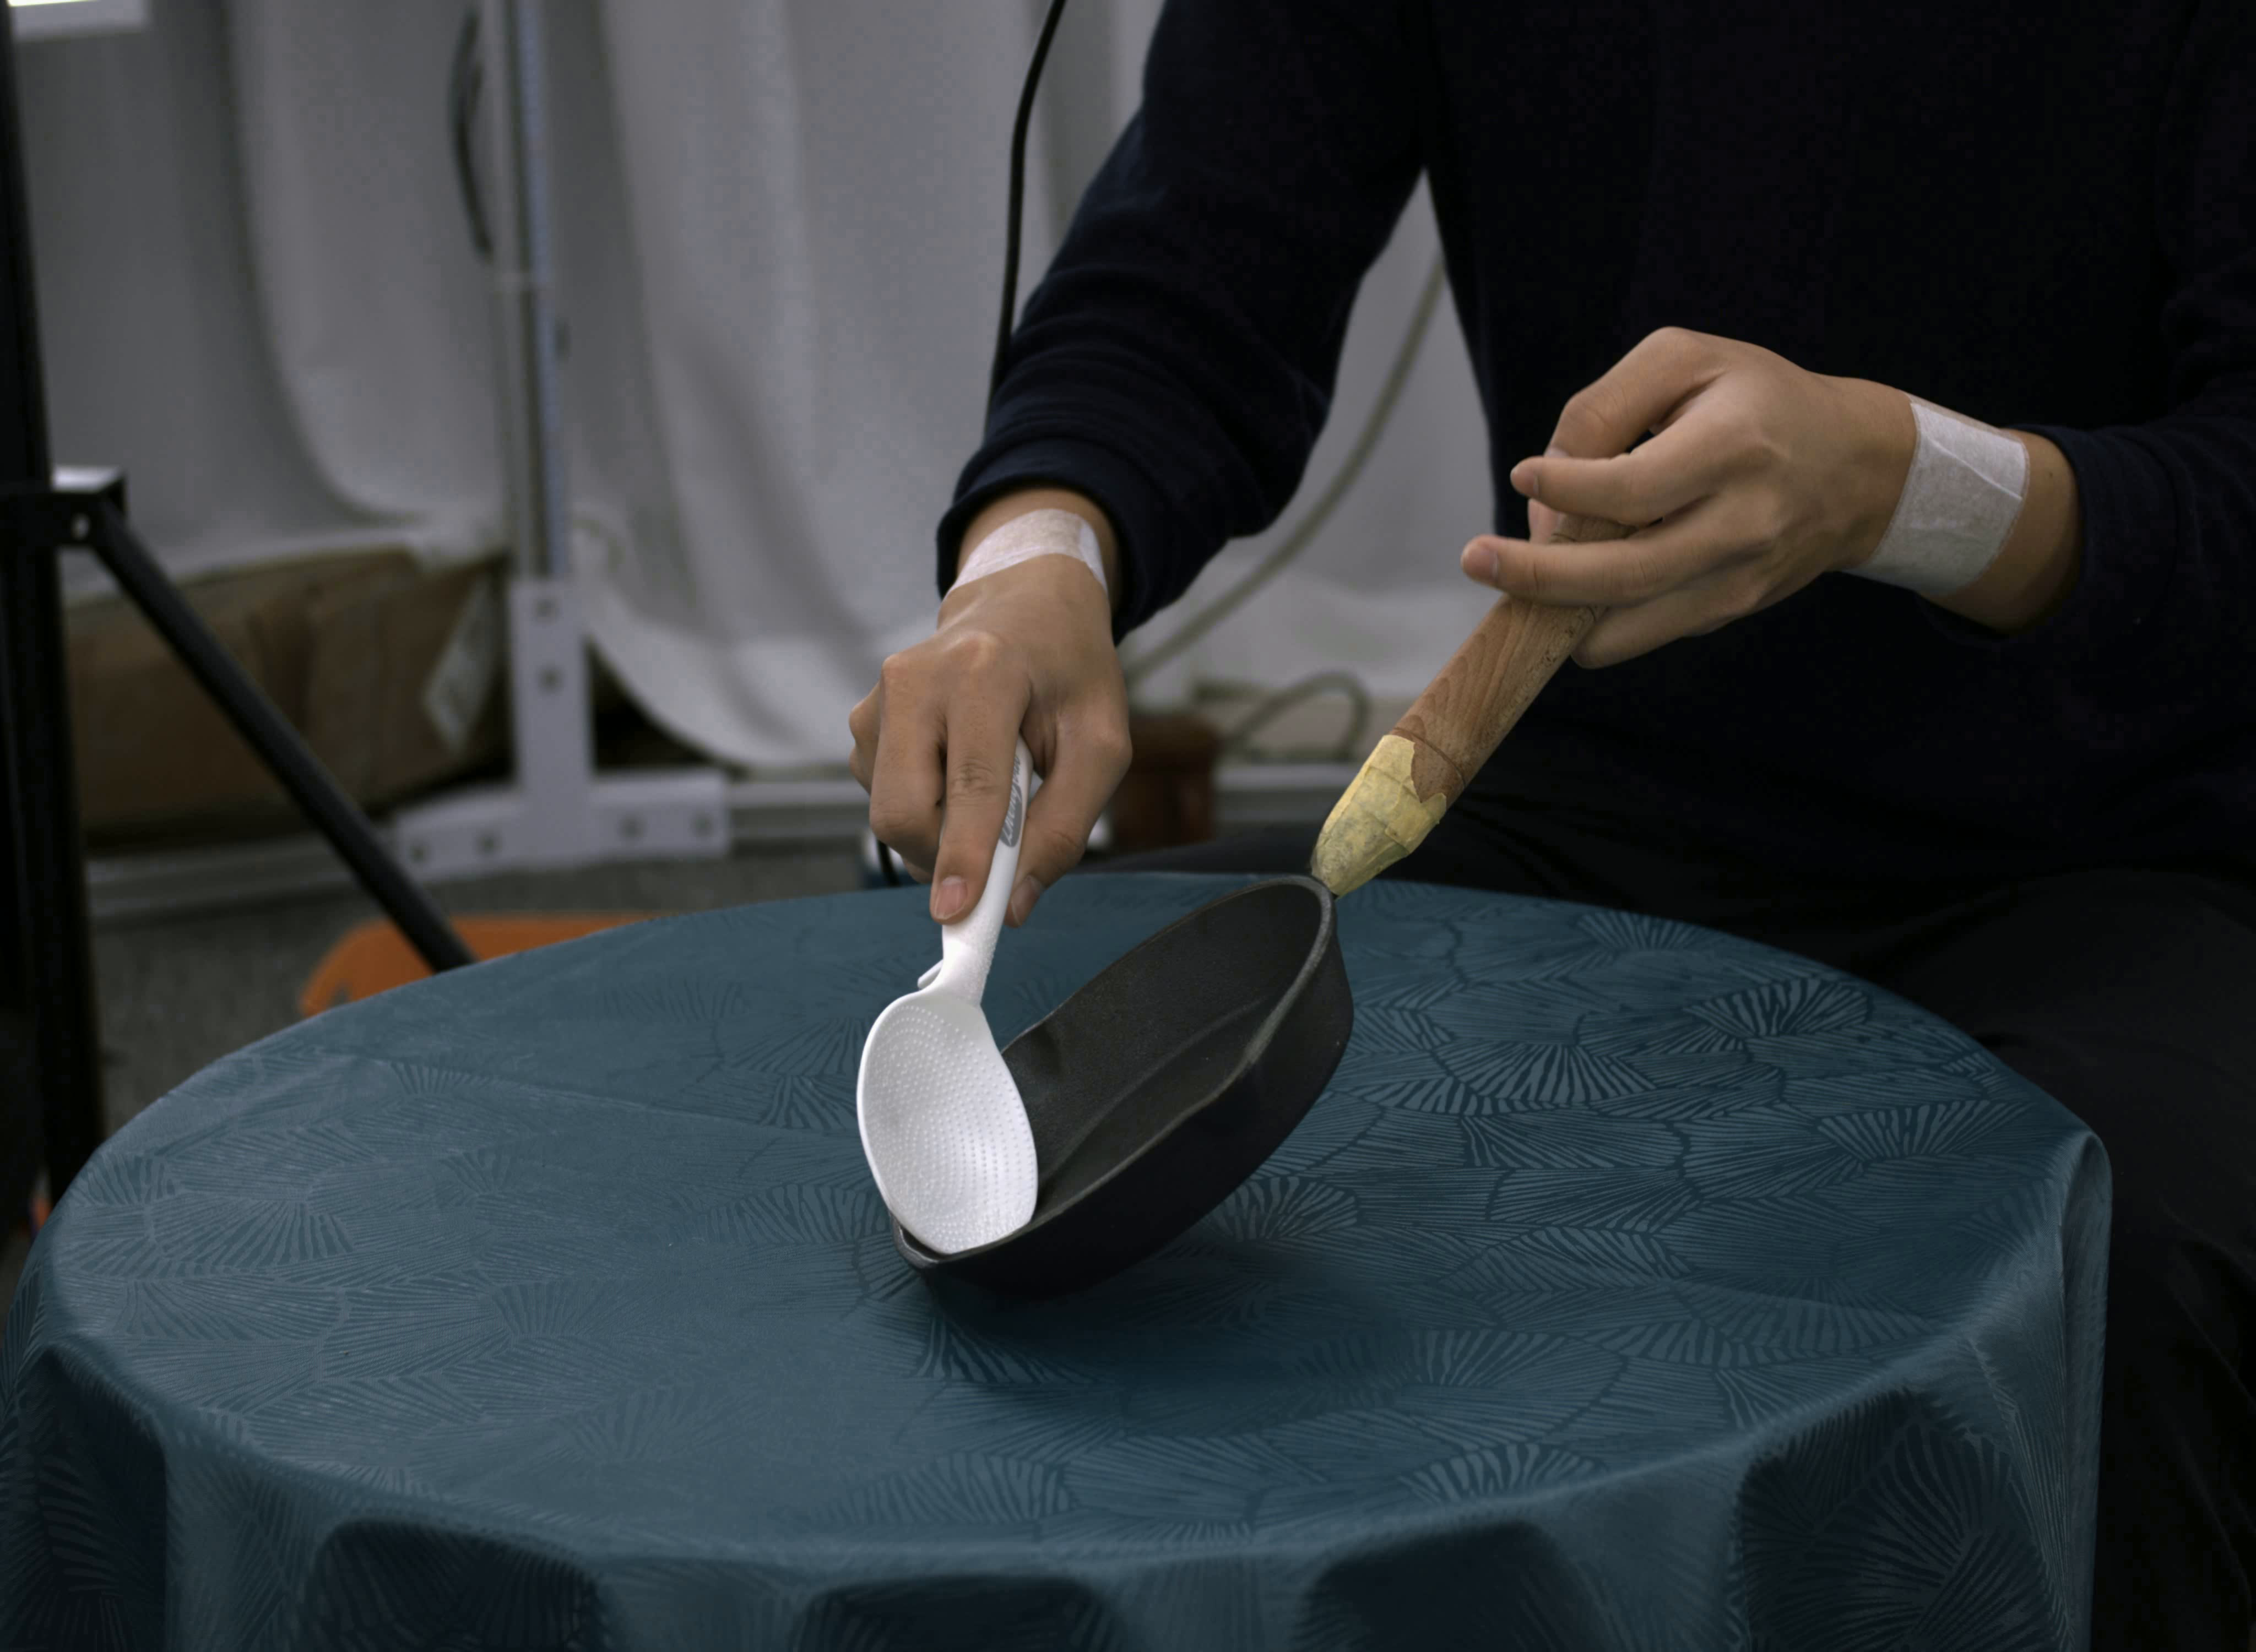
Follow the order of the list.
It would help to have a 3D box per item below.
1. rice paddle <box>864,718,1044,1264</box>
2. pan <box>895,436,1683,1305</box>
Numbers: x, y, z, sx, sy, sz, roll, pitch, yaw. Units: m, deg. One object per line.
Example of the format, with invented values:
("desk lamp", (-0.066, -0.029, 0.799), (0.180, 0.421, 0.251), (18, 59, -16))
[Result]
("rice paddle", (-0.047, 0.047, 1.552), (0.030, 0.067, 0.207), (-39, 31, 31))
("pan", (0.059, 0.015, 1.499), (0.322, 0.049, 0.171), (-46, 15, -13))
